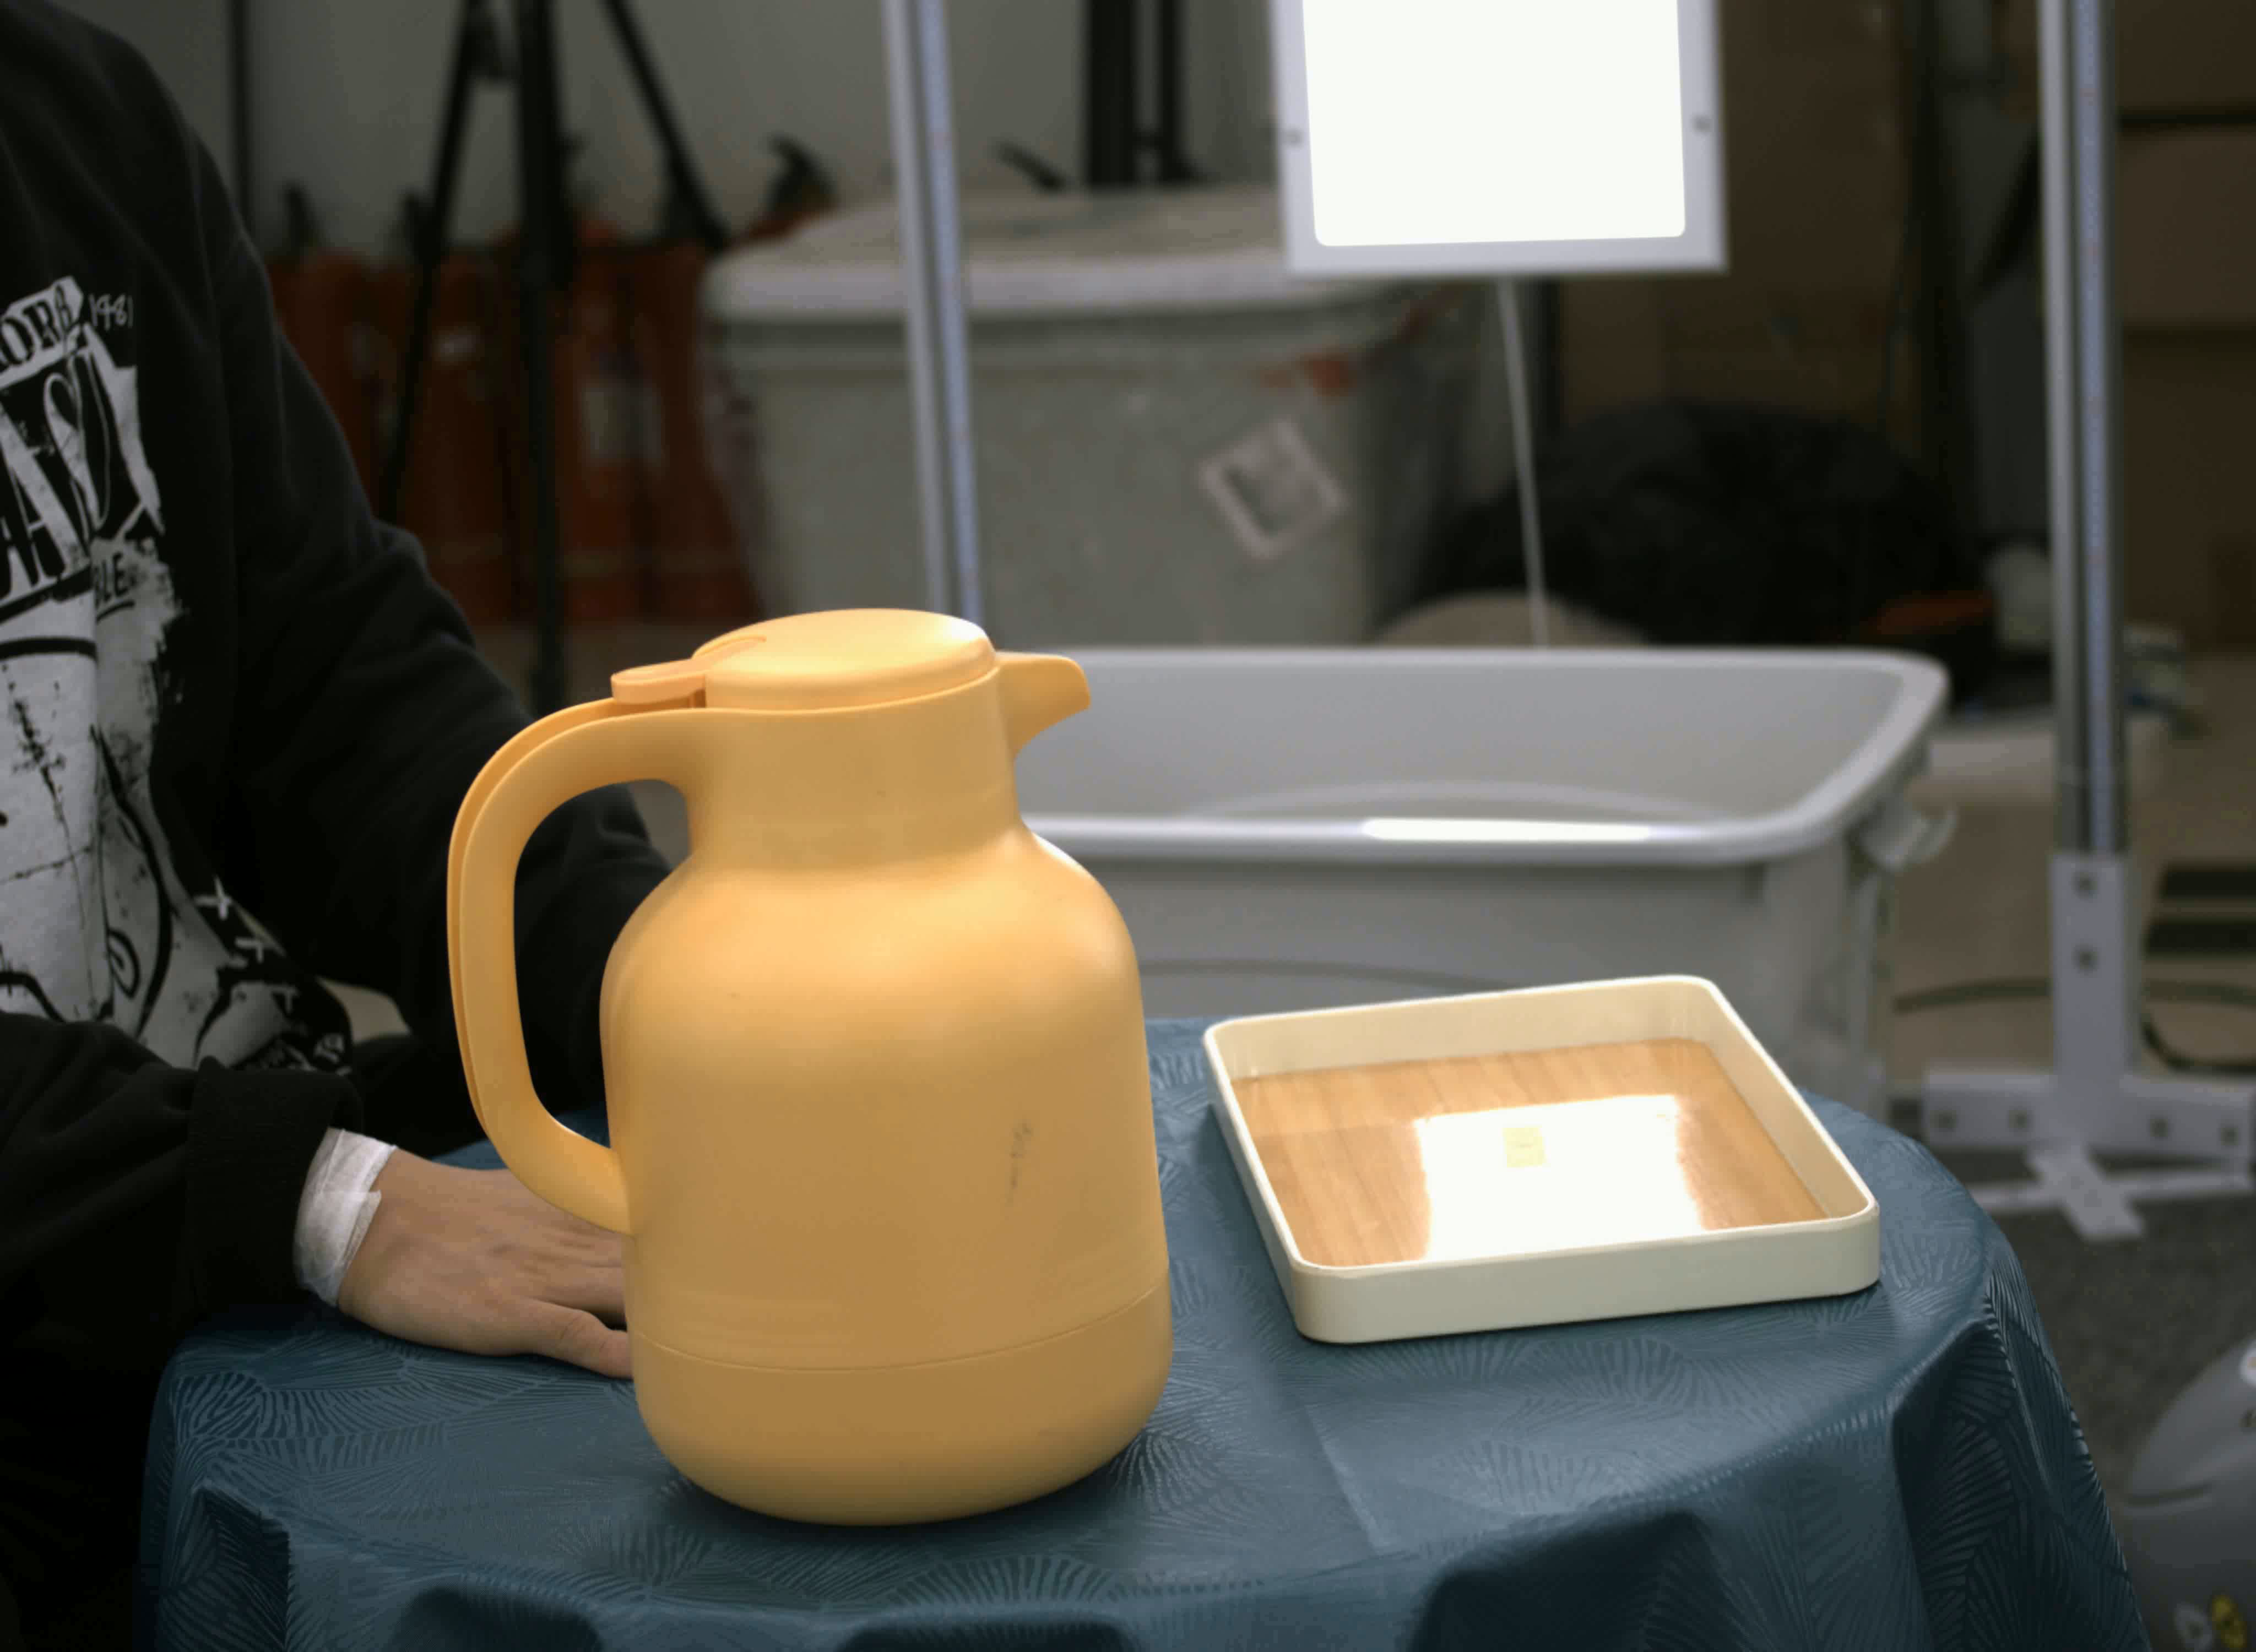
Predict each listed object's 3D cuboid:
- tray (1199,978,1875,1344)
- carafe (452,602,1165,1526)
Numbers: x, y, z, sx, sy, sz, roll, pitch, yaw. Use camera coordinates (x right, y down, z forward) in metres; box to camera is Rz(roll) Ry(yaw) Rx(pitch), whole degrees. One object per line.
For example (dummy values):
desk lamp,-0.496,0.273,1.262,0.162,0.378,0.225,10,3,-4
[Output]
tray,0.133,0.109,1.864,0.190,0.027,0.300,-6,14,-3
carafe,-0.094,0.068,1.624,0.200,0.261,0.164,-6,11,-11
